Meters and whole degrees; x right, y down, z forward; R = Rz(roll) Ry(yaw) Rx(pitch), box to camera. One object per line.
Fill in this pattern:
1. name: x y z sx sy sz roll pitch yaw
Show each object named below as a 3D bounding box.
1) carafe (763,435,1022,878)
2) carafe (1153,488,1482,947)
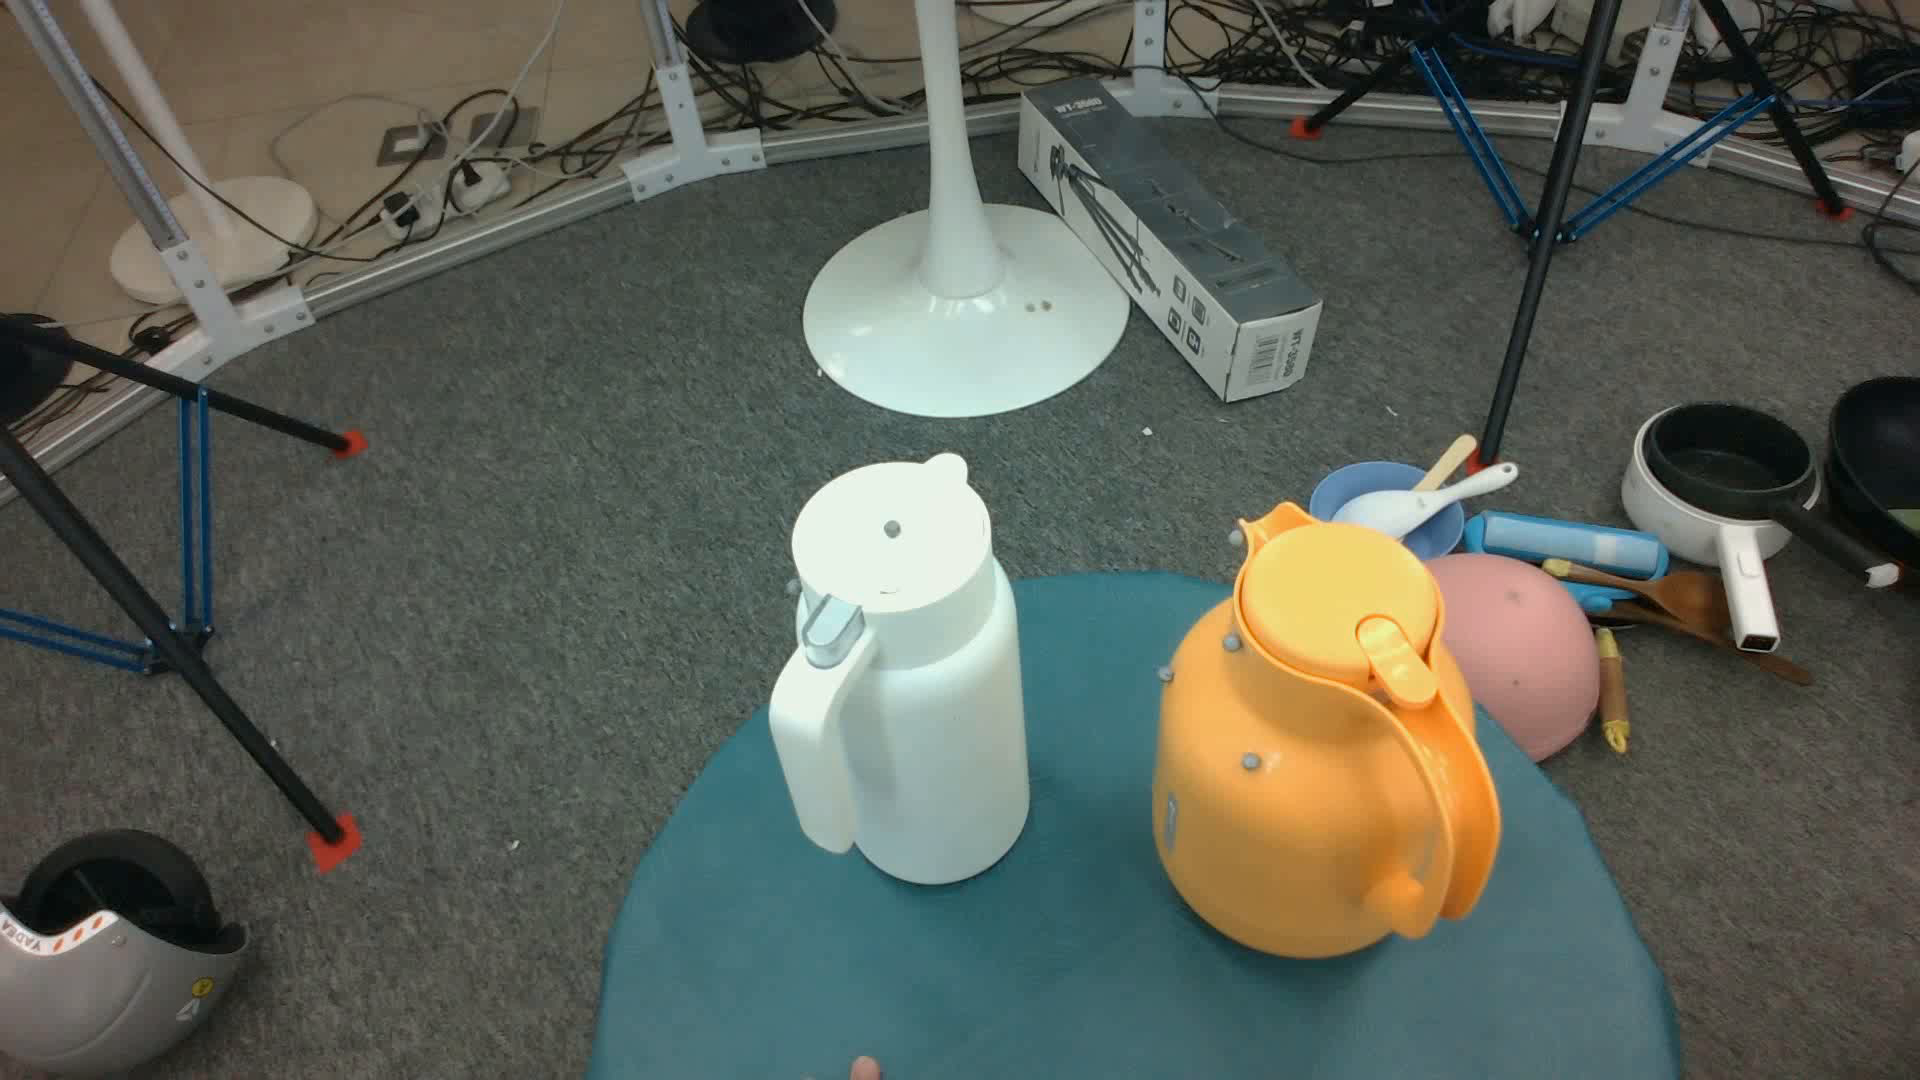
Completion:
1. carafe: -0.034 0.090 0.761 0.124 0.267 0.173 19 54 18
2. carafe: 0.191 0.111 0.727 0.163 0.259 0.203 -20 49 -8
